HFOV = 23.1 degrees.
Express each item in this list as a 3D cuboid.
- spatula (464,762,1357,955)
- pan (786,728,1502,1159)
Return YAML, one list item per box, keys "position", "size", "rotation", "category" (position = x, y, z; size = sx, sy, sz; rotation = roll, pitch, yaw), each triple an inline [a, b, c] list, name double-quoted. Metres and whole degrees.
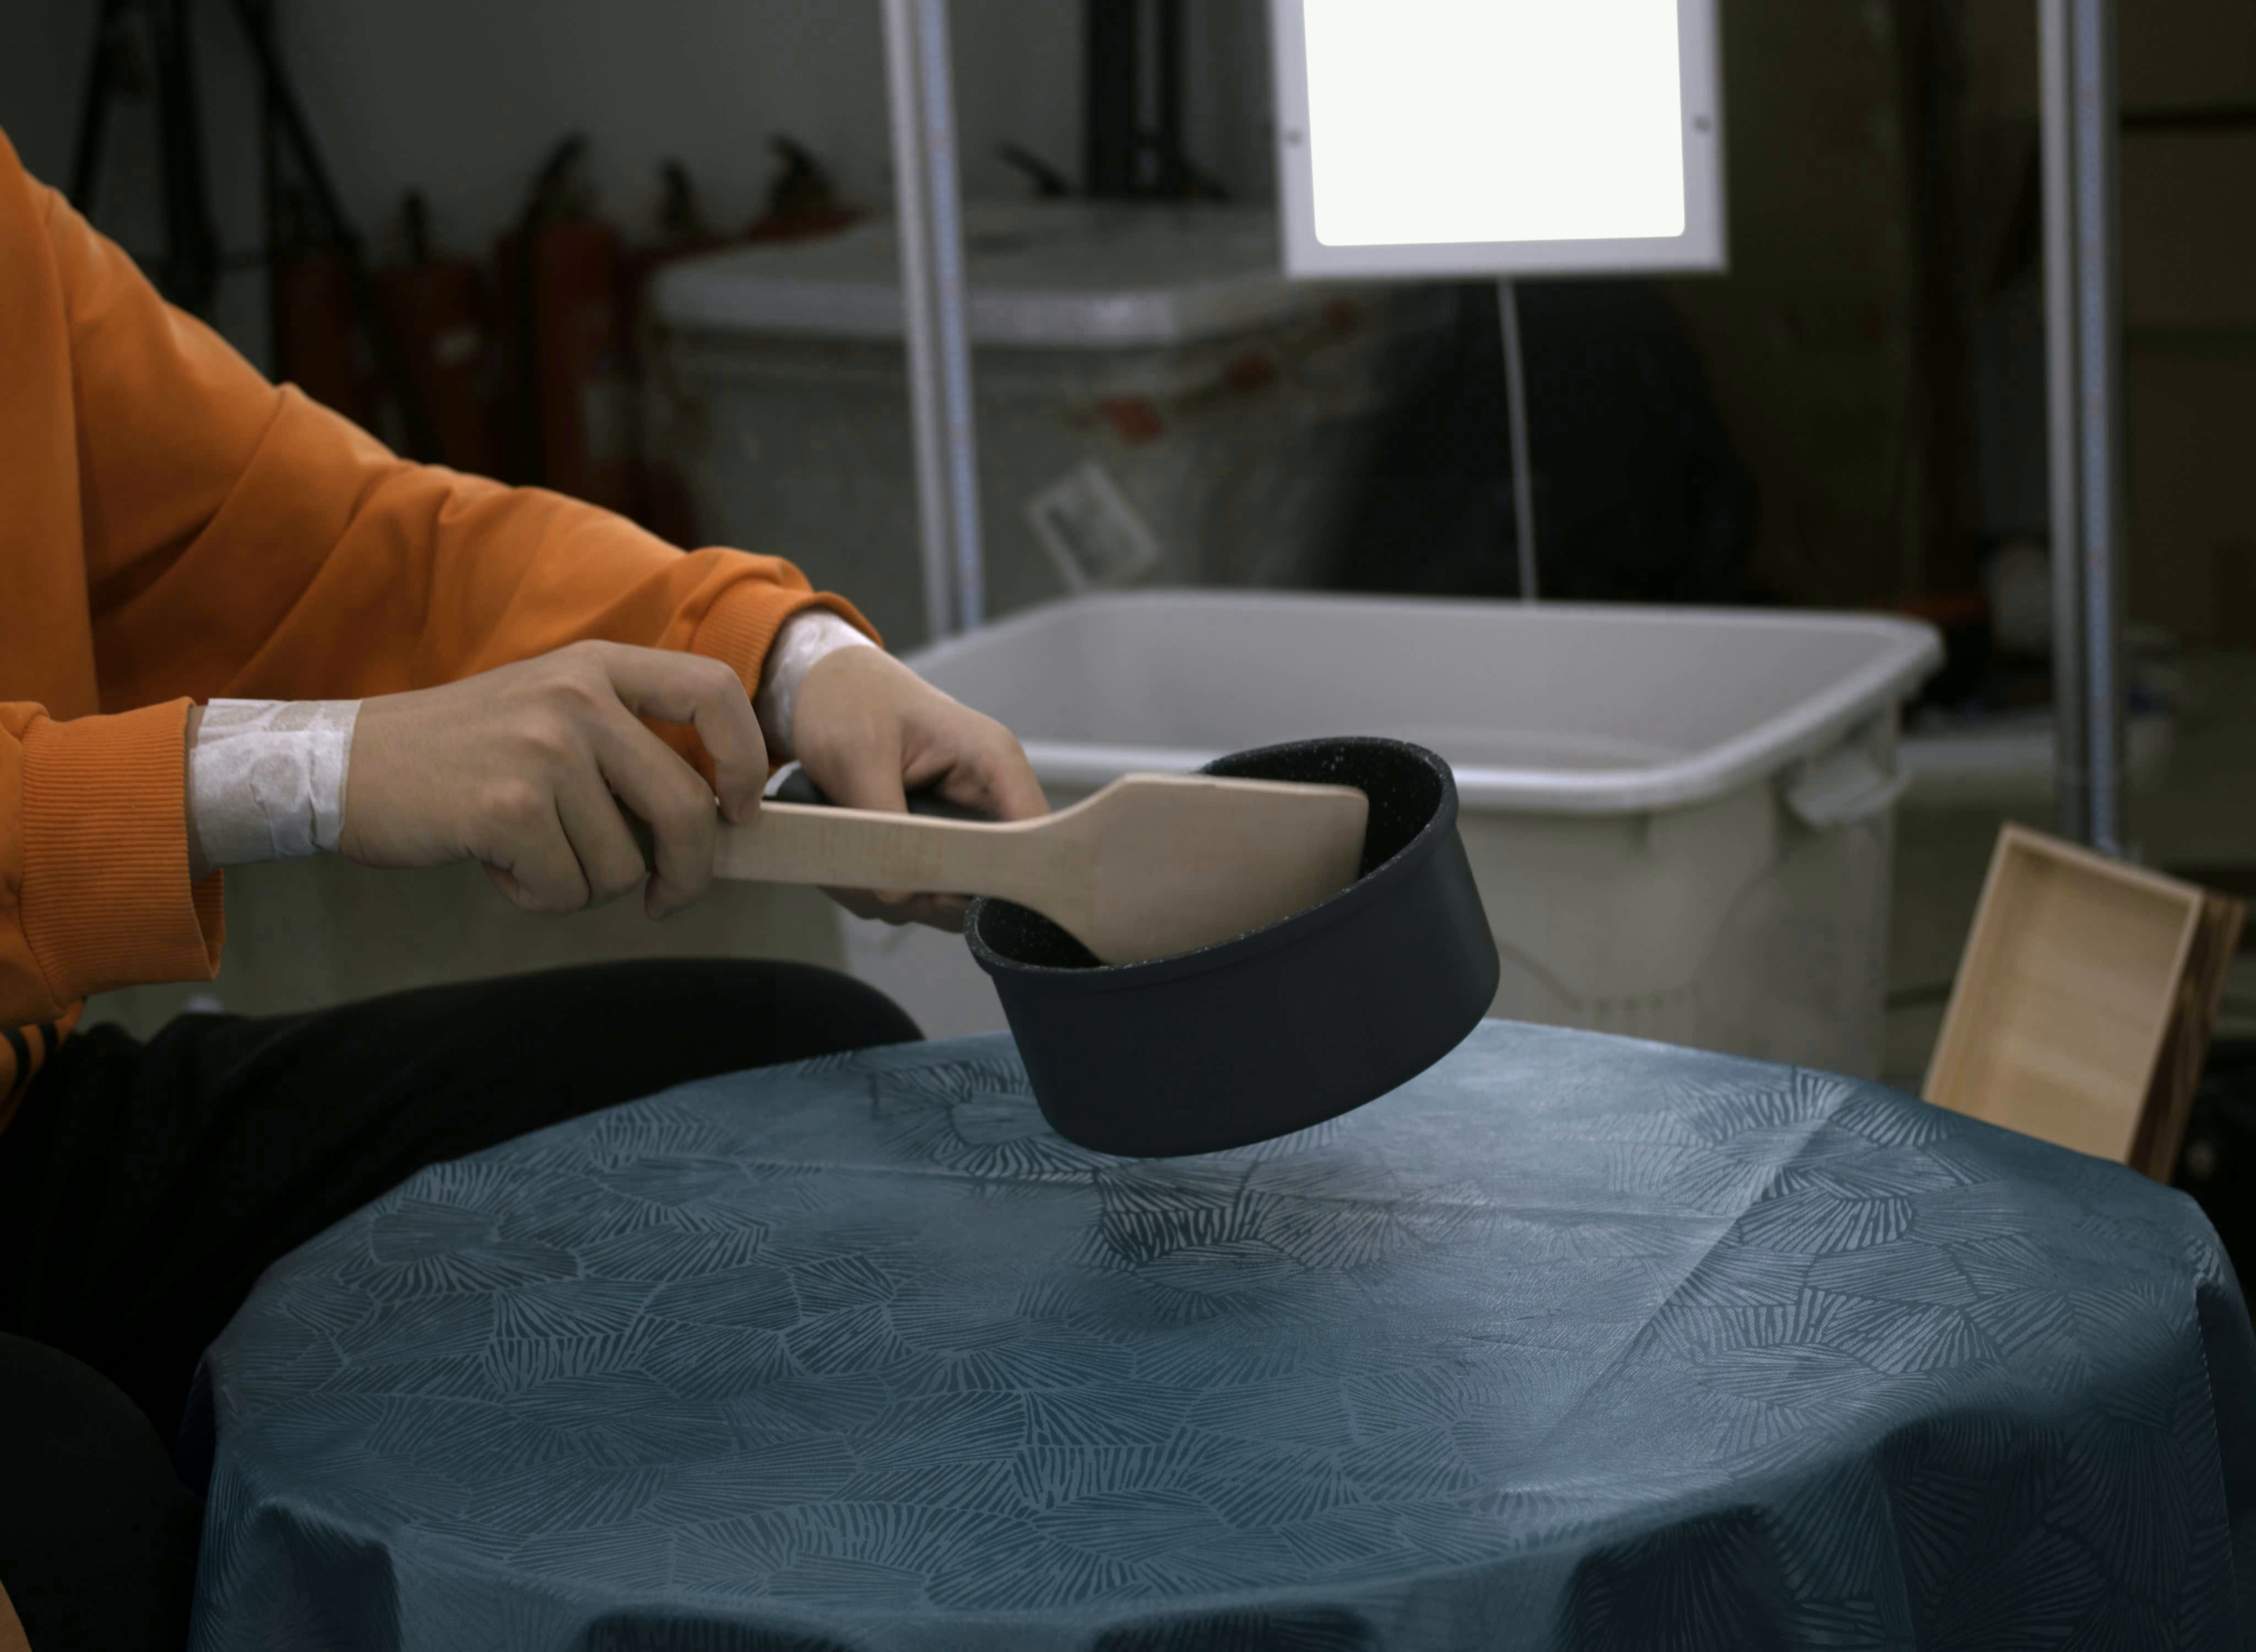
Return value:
- position: [-0.070, 0.006, 1.793]
  size: [0.290, 0.073, 0.010]
  rotation: [3, 26, -8]
  category: "spatula"
- position: [-0.010, 0.029, 1.901]
  size: [0.168, 0.086, 0.335]
  rotation: [-30, 23, -29]
  category: "pan"
